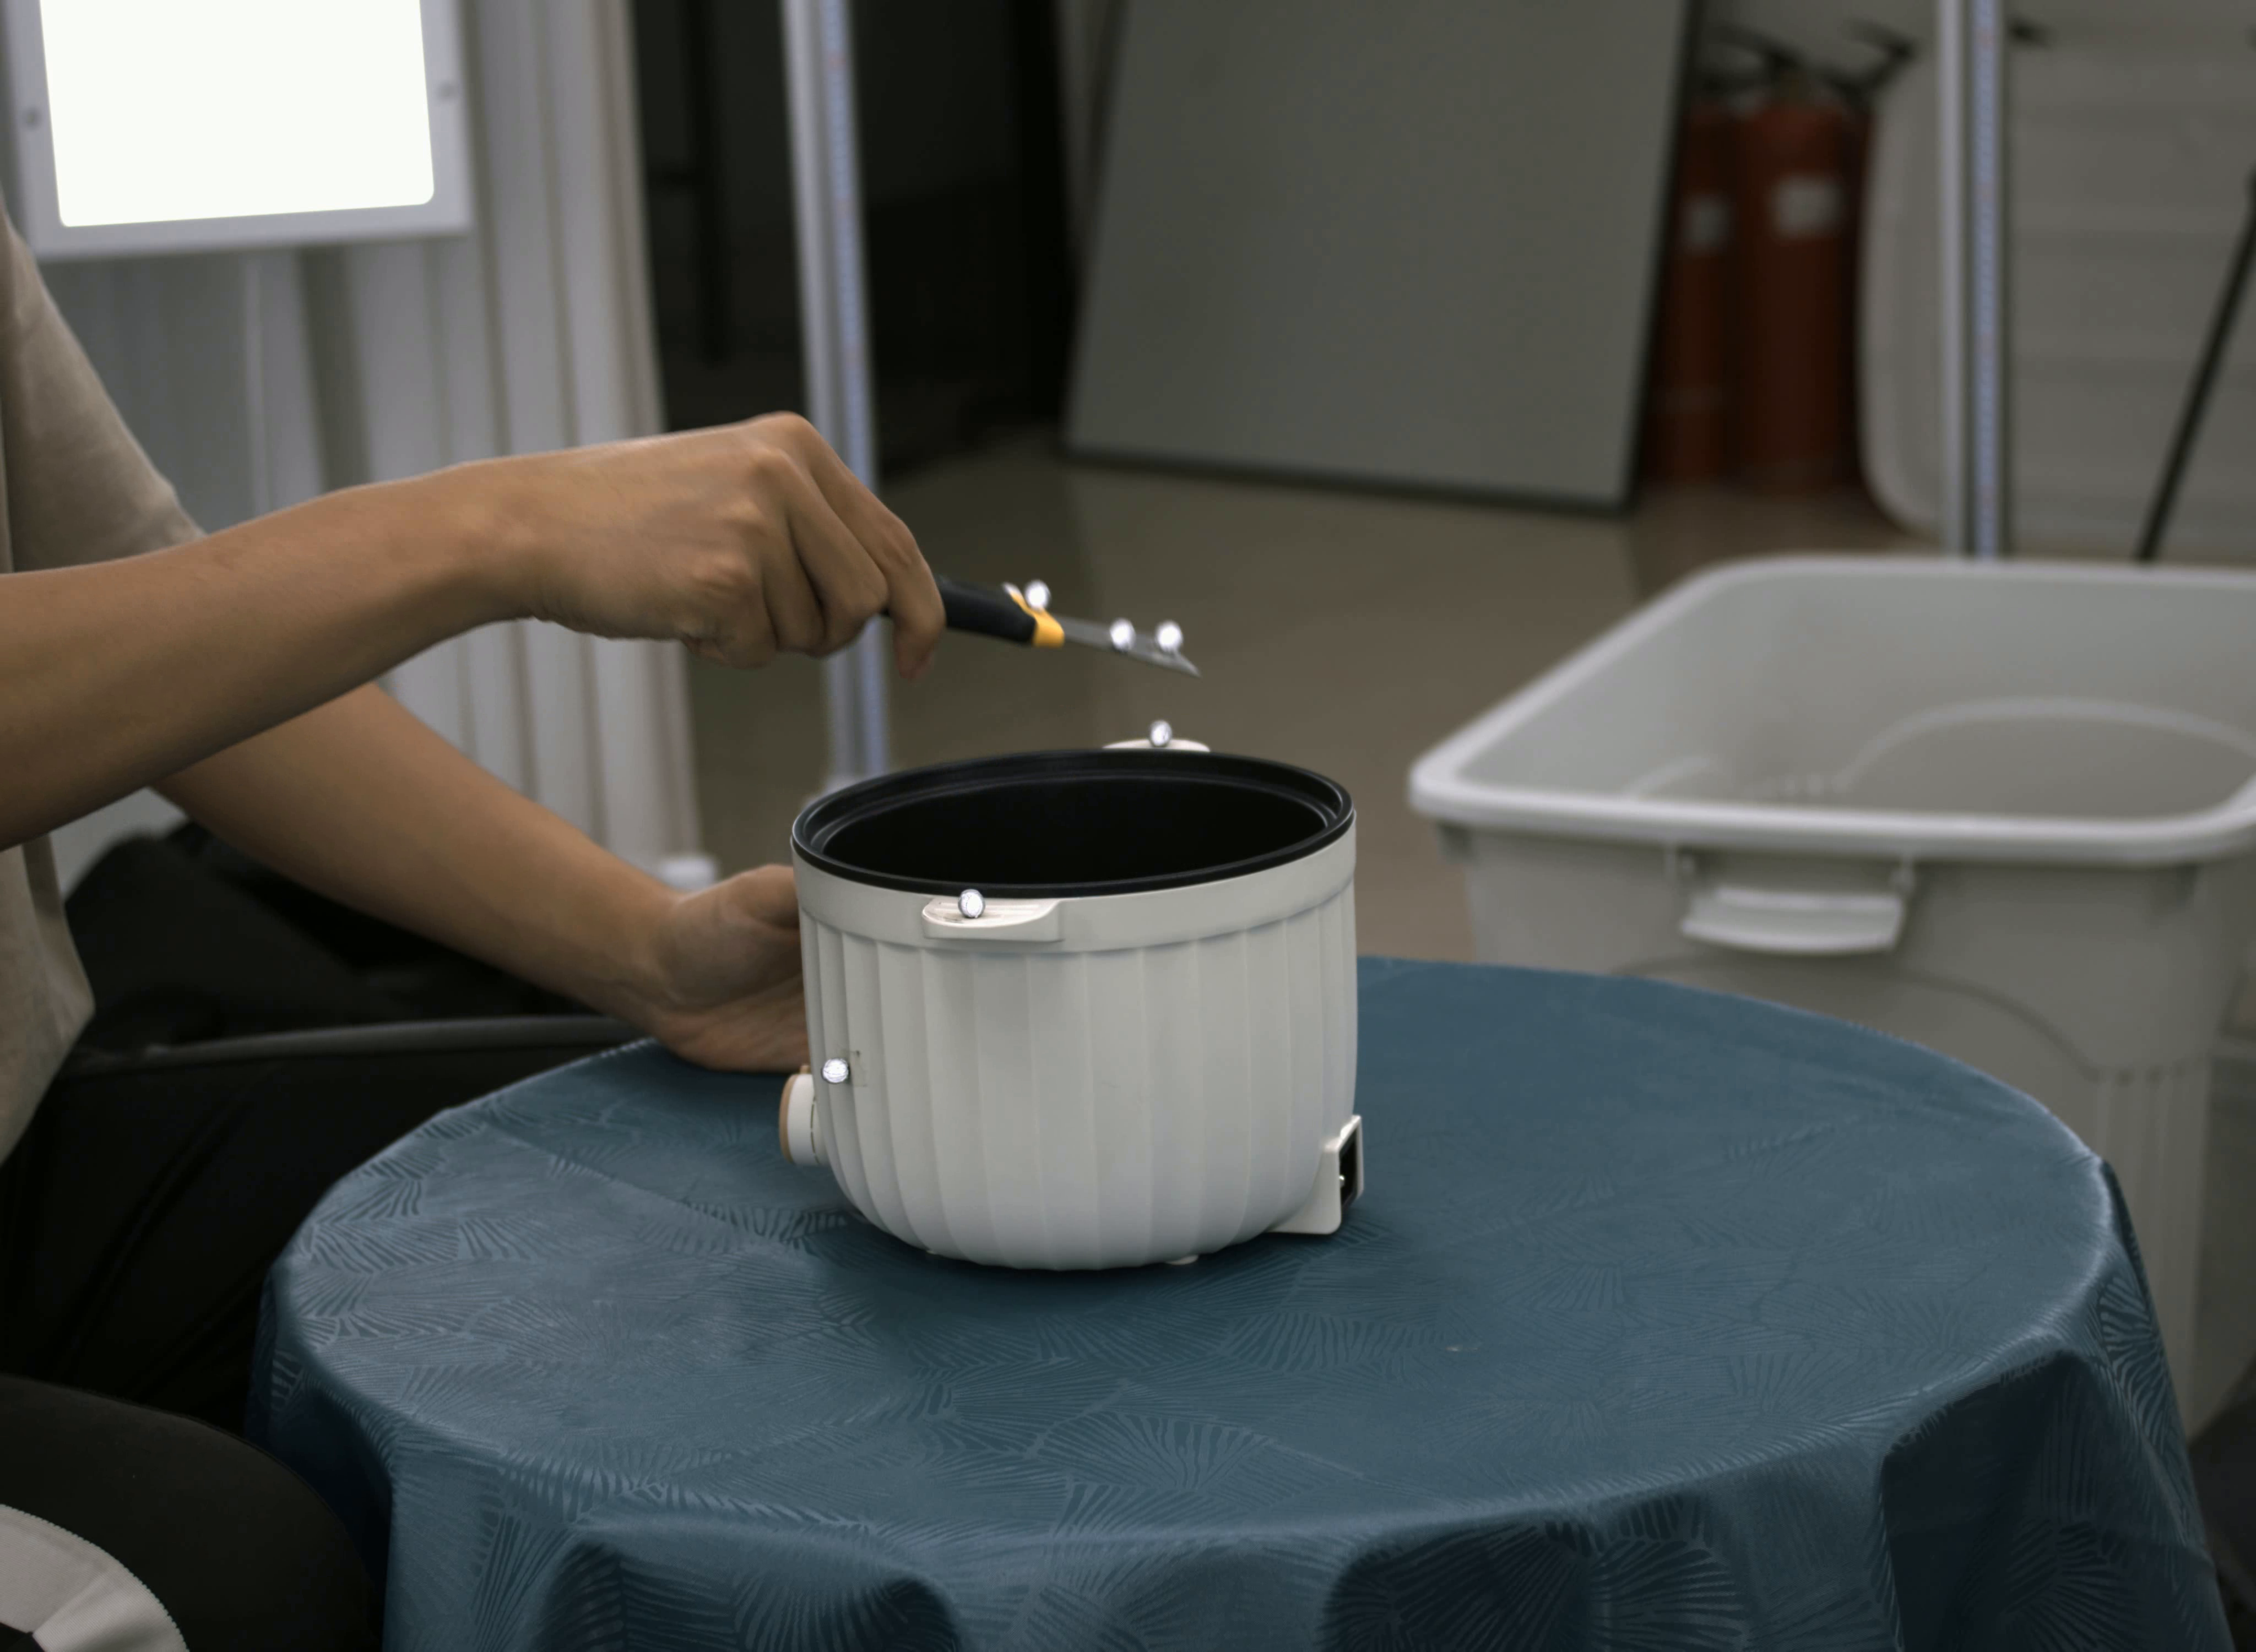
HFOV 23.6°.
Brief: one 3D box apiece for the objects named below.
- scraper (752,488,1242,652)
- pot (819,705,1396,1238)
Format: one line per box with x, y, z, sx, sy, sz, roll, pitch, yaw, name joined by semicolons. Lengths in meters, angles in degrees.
-0.041;-0.079;1.699;0.167;0.015;0.039;13;21;-26;scraper
-0.007;0.050;1.747;0.189;0.144;0.238;4;14;14;pot
